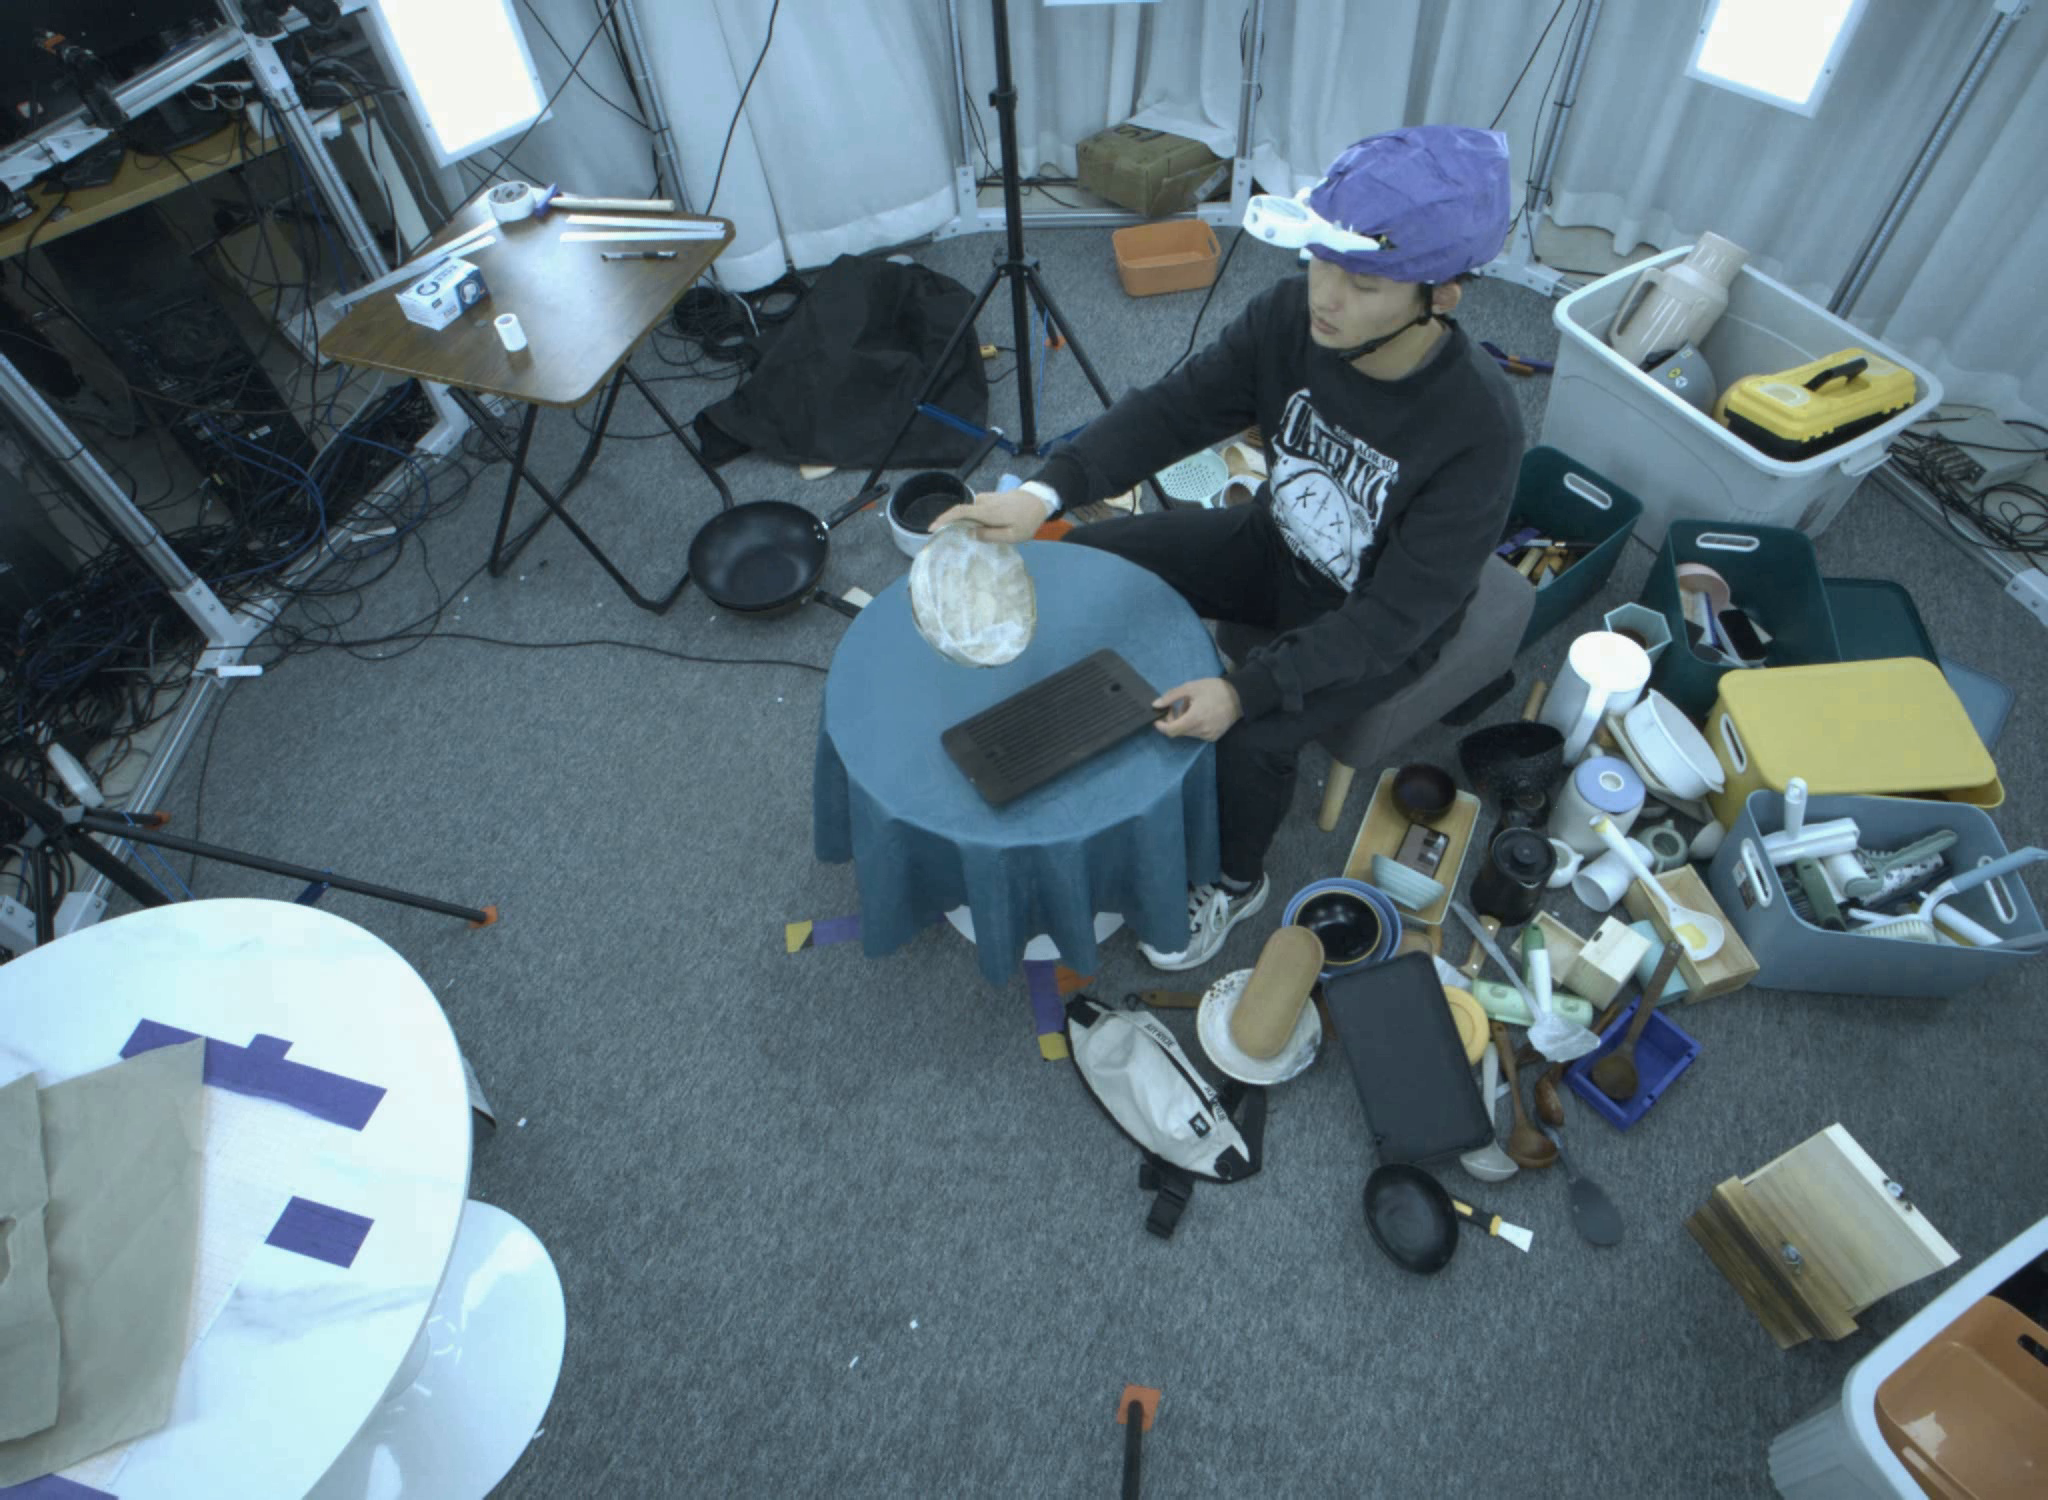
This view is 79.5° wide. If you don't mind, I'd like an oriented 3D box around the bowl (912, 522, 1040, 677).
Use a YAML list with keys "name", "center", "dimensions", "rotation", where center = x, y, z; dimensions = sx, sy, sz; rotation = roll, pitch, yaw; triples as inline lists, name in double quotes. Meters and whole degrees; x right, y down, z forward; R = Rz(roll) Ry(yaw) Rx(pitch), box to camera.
- name: "bowl"
  center: [-0.078, -0.193, 1.641]
  dimensions: [0.093, 0.219, 0.214]
  rotation: [-11, 47, 39]

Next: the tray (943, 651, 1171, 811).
- name: "tray"
  center: [0.049, -0.030, 1.795]
  dimensions: [0.308, 0.019, 0.166]
  rotation: [-28, 51, -17]
